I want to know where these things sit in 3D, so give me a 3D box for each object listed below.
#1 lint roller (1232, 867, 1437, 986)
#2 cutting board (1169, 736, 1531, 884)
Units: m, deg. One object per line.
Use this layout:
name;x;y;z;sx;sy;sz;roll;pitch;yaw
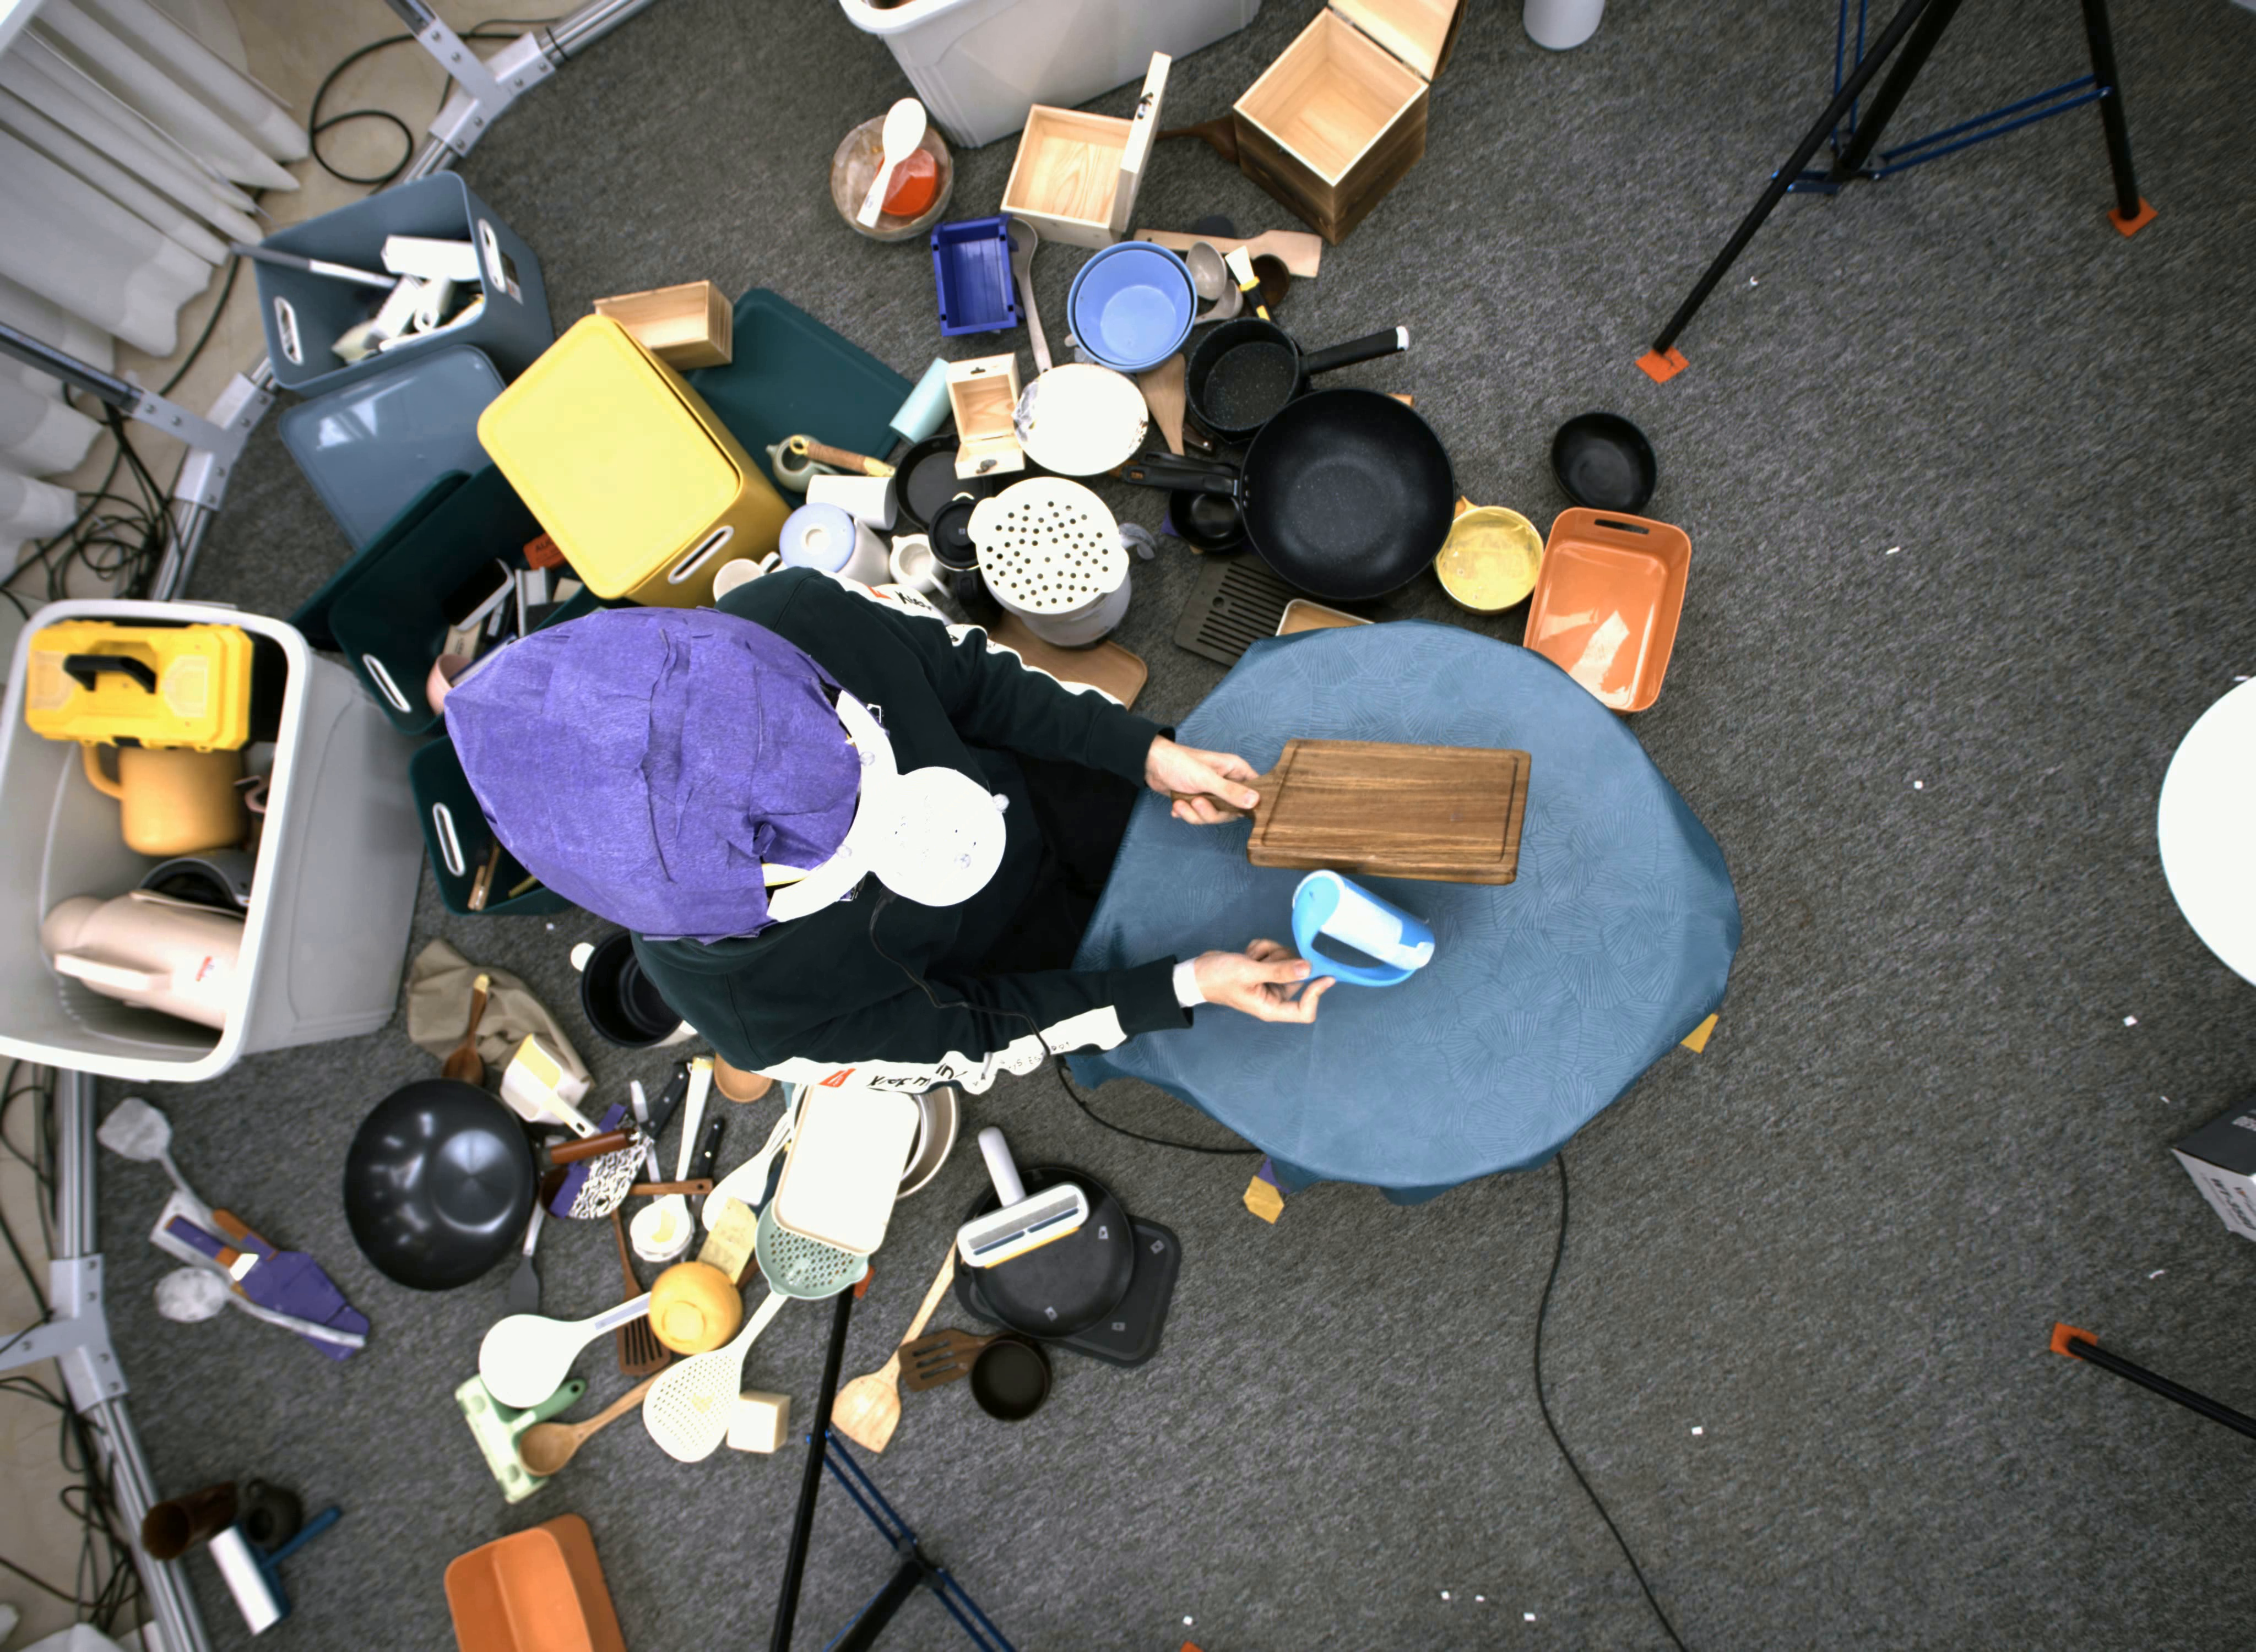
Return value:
lint roller;0.184;0.117;1.346;0.183;0.229;0.066;-29;58;30
cutting board;0.211;-0.025;1.353;0.354;0.195;0.024;4;130;18
